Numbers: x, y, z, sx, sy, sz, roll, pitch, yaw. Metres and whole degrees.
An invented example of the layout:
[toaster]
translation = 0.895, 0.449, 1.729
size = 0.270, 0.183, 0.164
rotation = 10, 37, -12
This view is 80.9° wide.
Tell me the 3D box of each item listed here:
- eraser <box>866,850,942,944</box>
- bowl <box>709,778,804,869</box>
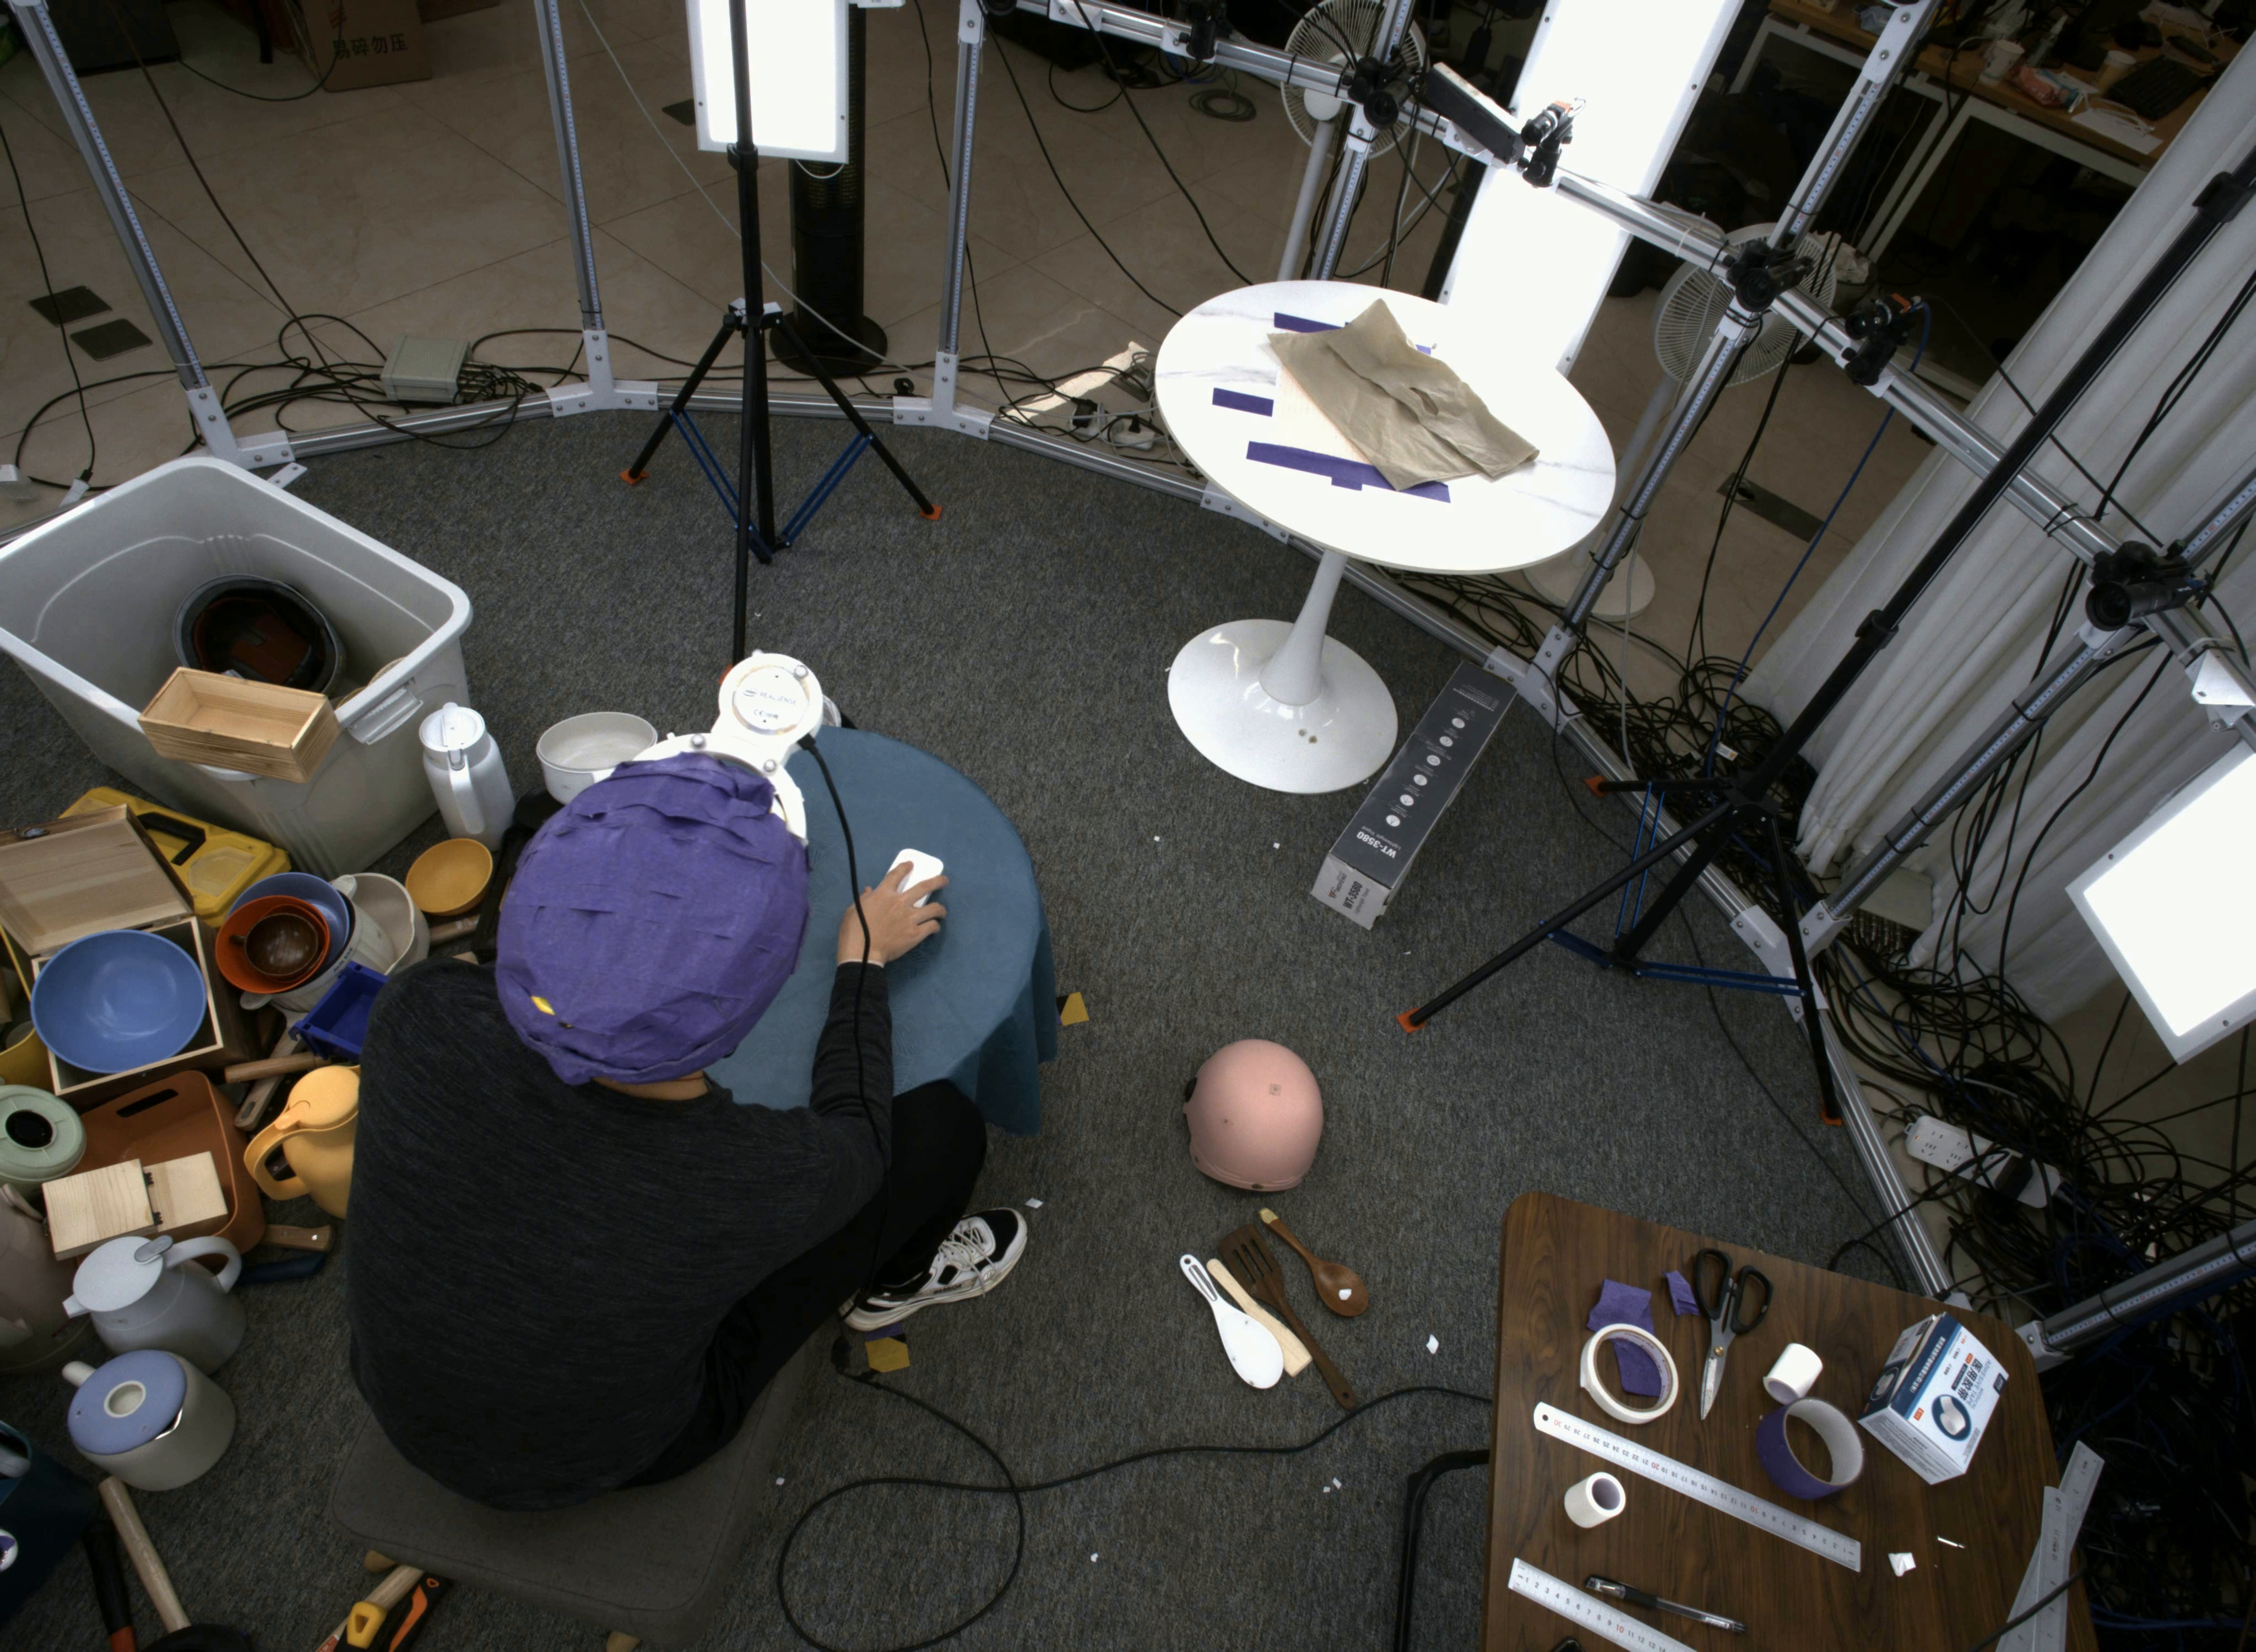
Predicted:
[eraser]
translation = -0.288, 0.087, 1.670
size = 0.063, 0.035, 0.130
rotation = 20, 51, 3
[bowl]
translation = -0.475, 0.003, 1.657
size = 0.118, 0.071, 0.116
rotation = 8, 53, -9
